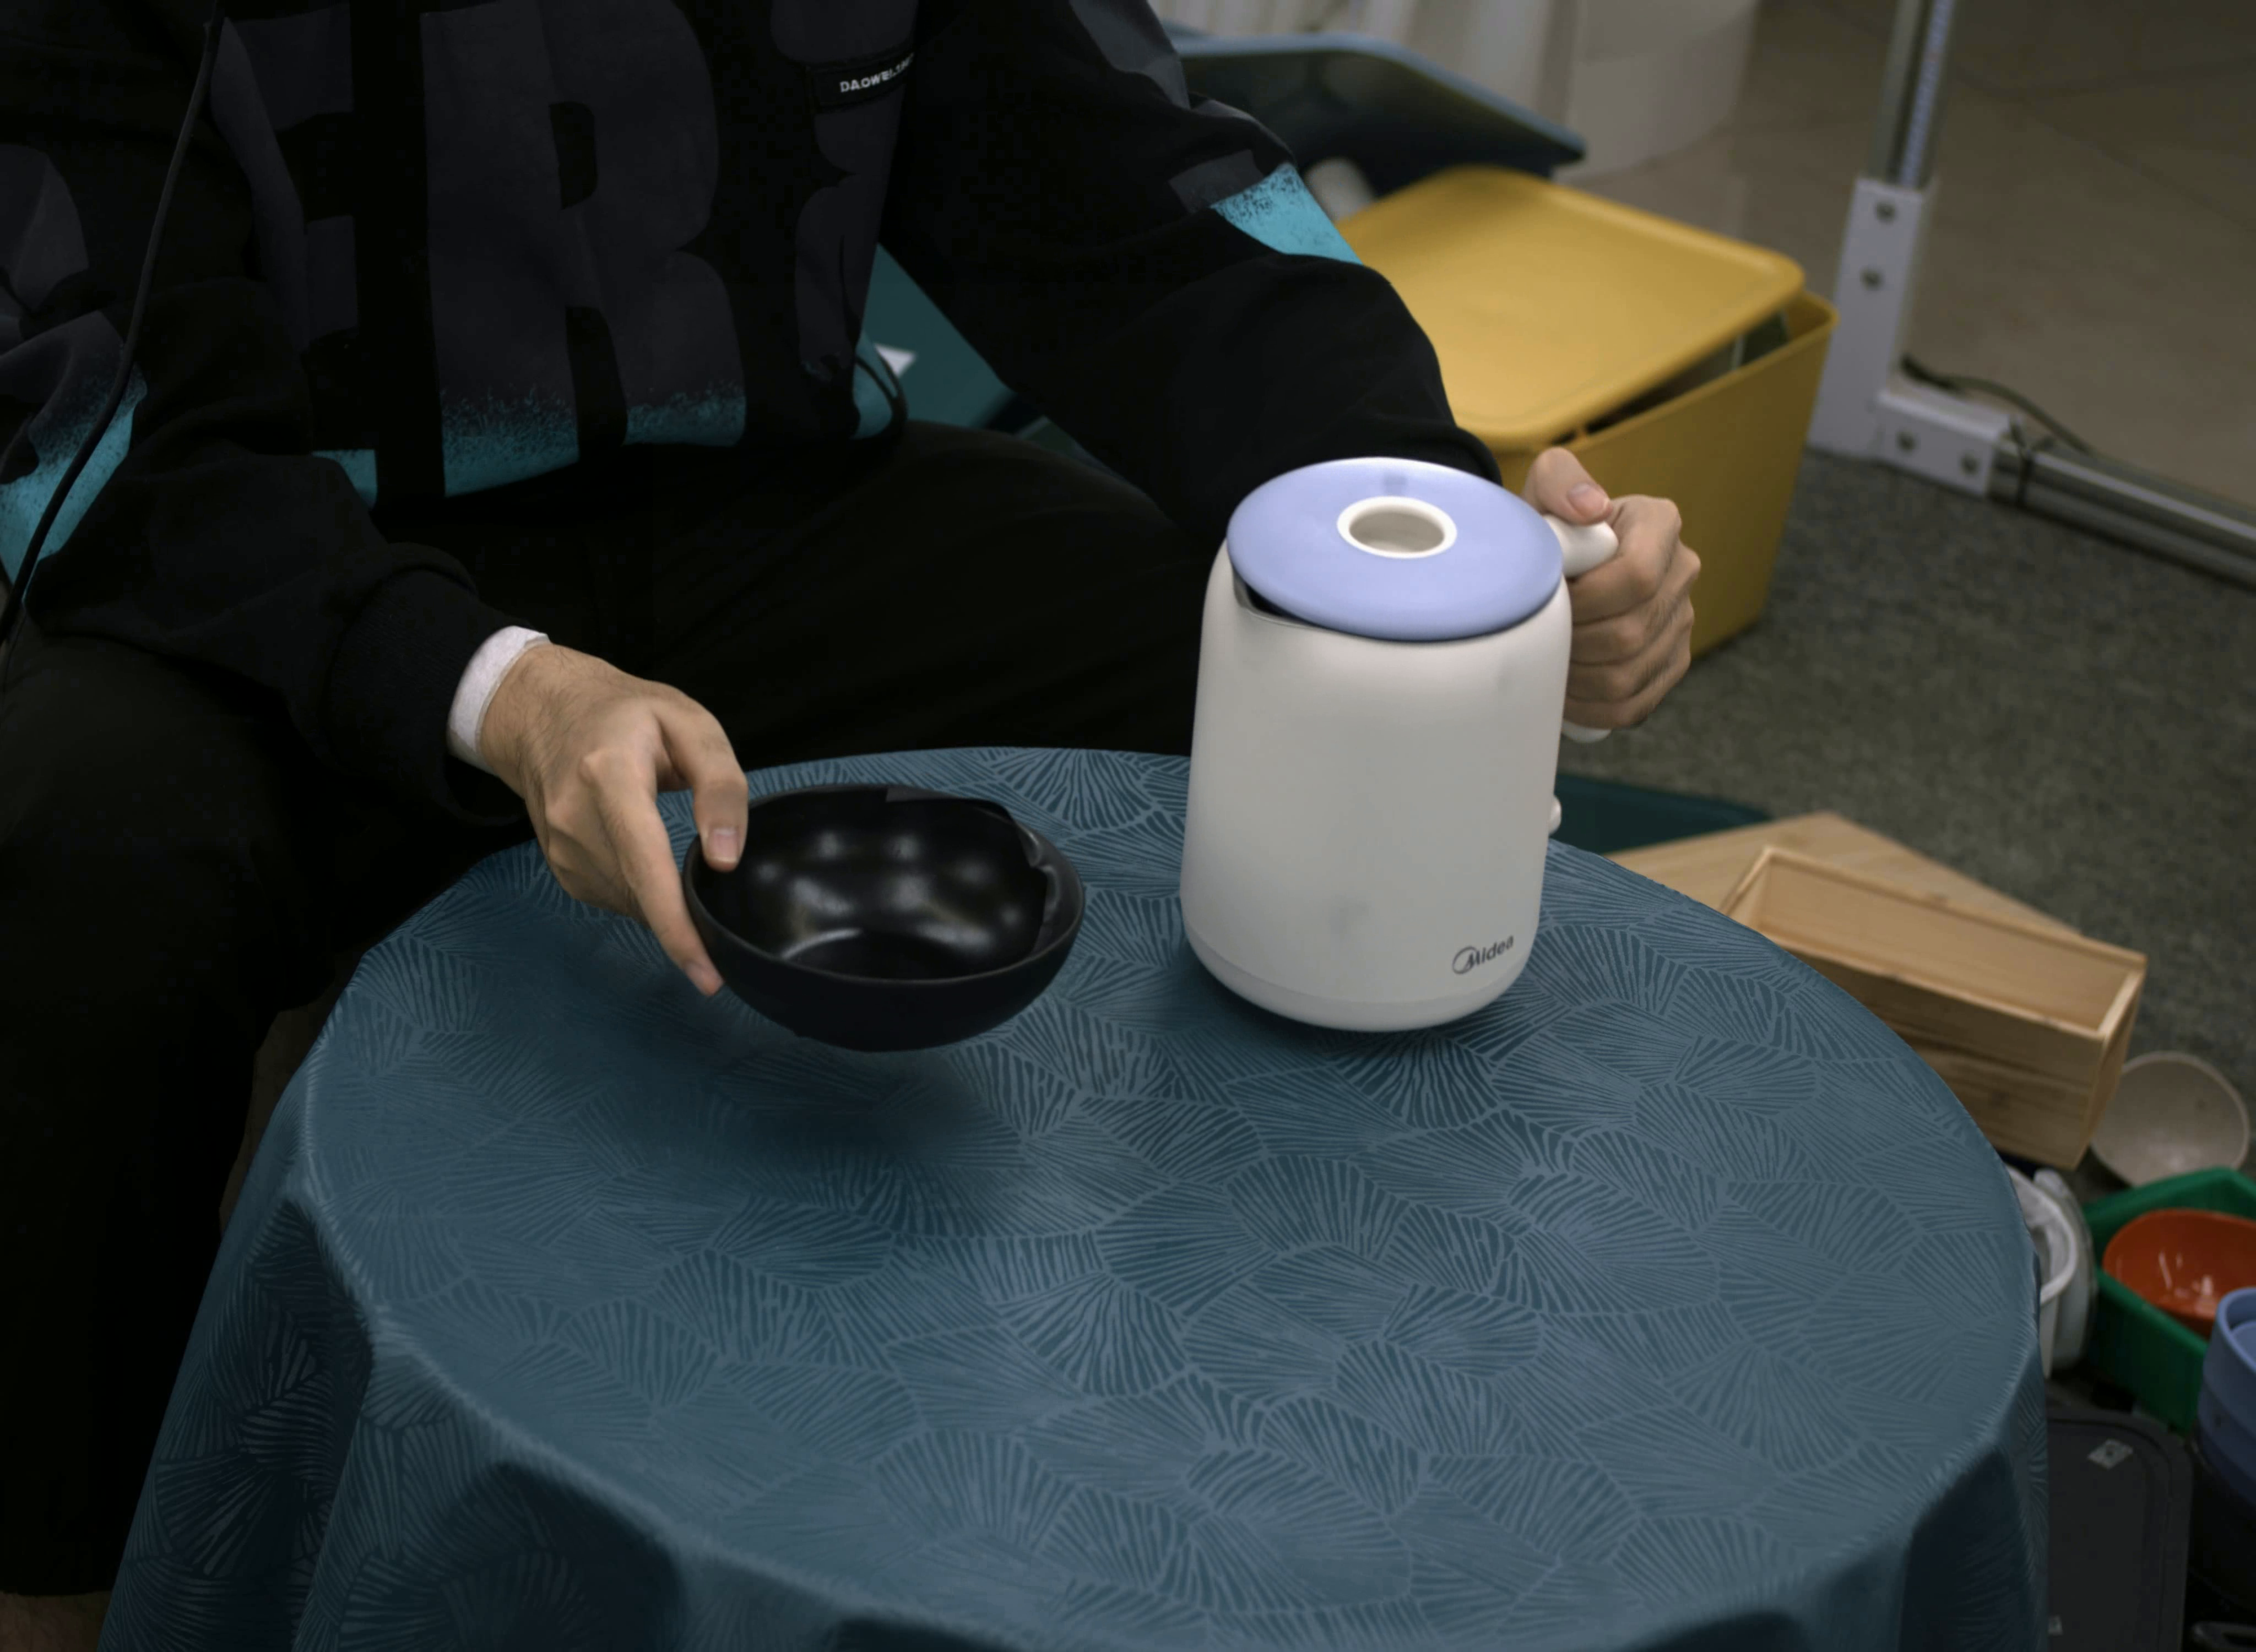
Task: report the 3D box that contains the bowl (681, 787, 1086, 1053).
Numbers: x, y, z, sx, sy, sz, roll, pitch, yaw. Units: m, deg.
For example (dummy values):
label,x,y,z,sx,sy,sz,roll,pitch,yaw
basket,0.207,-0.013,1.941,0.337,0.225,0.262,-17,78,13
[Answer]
label,x,y,z,sx,sy,sz,roll,pitch,yaw
bowl,-0.085,0.039,1.824,0.139,0.049,0.141,3,27,-2

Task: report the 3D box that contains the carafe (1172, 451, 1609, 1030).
label,x,y,z,sx,sy,sz,roll,pitch,yaw
carafe,0.104,-0.038,1.913,0.190,0.182,0.133,-21,41,-37
